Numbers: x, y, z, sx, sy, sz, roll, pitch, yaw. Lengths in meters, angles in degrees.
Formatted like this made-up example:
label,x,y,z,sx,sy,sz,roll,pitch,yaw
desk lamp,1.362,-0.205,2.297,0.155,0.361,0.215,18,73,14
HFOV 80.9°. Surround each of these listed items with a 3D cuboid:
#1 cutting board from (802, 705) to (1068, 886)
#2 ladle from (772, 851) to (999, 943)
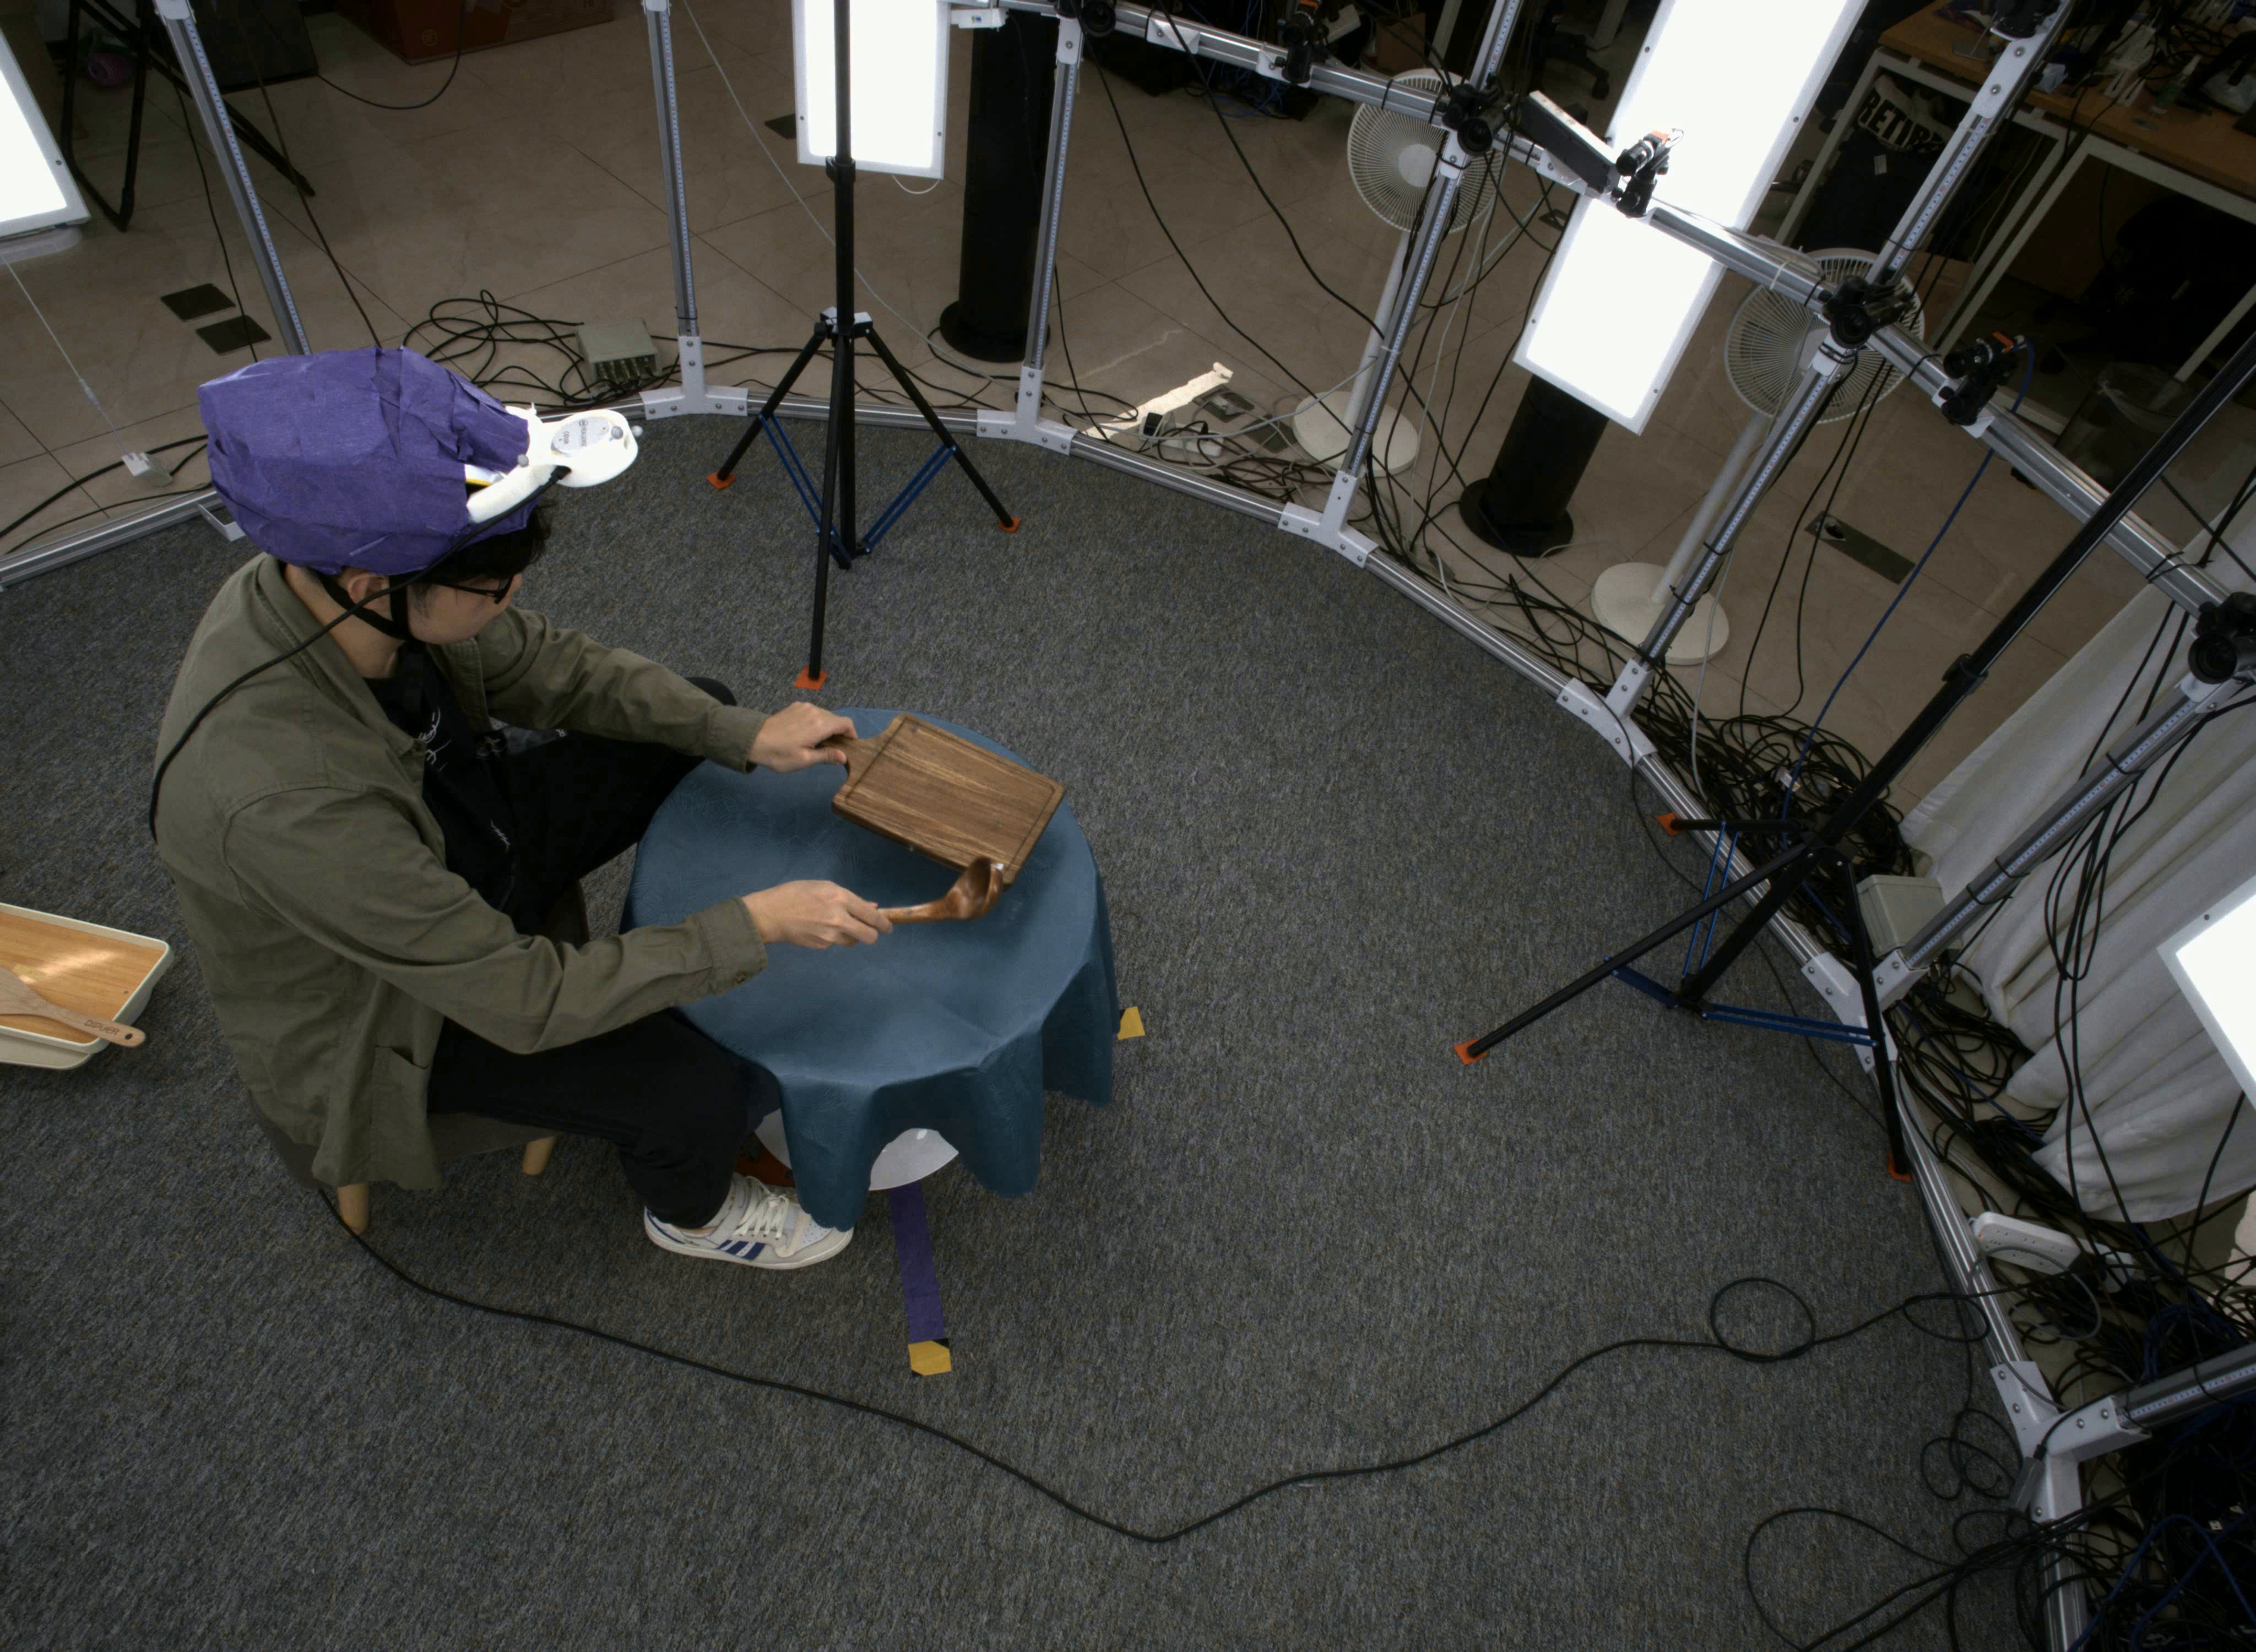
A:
label,x,y,z,sx,sy,sz,roll,pitch,yaw
cutting board,-0.269,-0.066,1.704,0.349,0.023,0.199,27,48,1
ladle,-0.285,0.085,1.528,0.274,0.079,0.079,-7,37,-13
